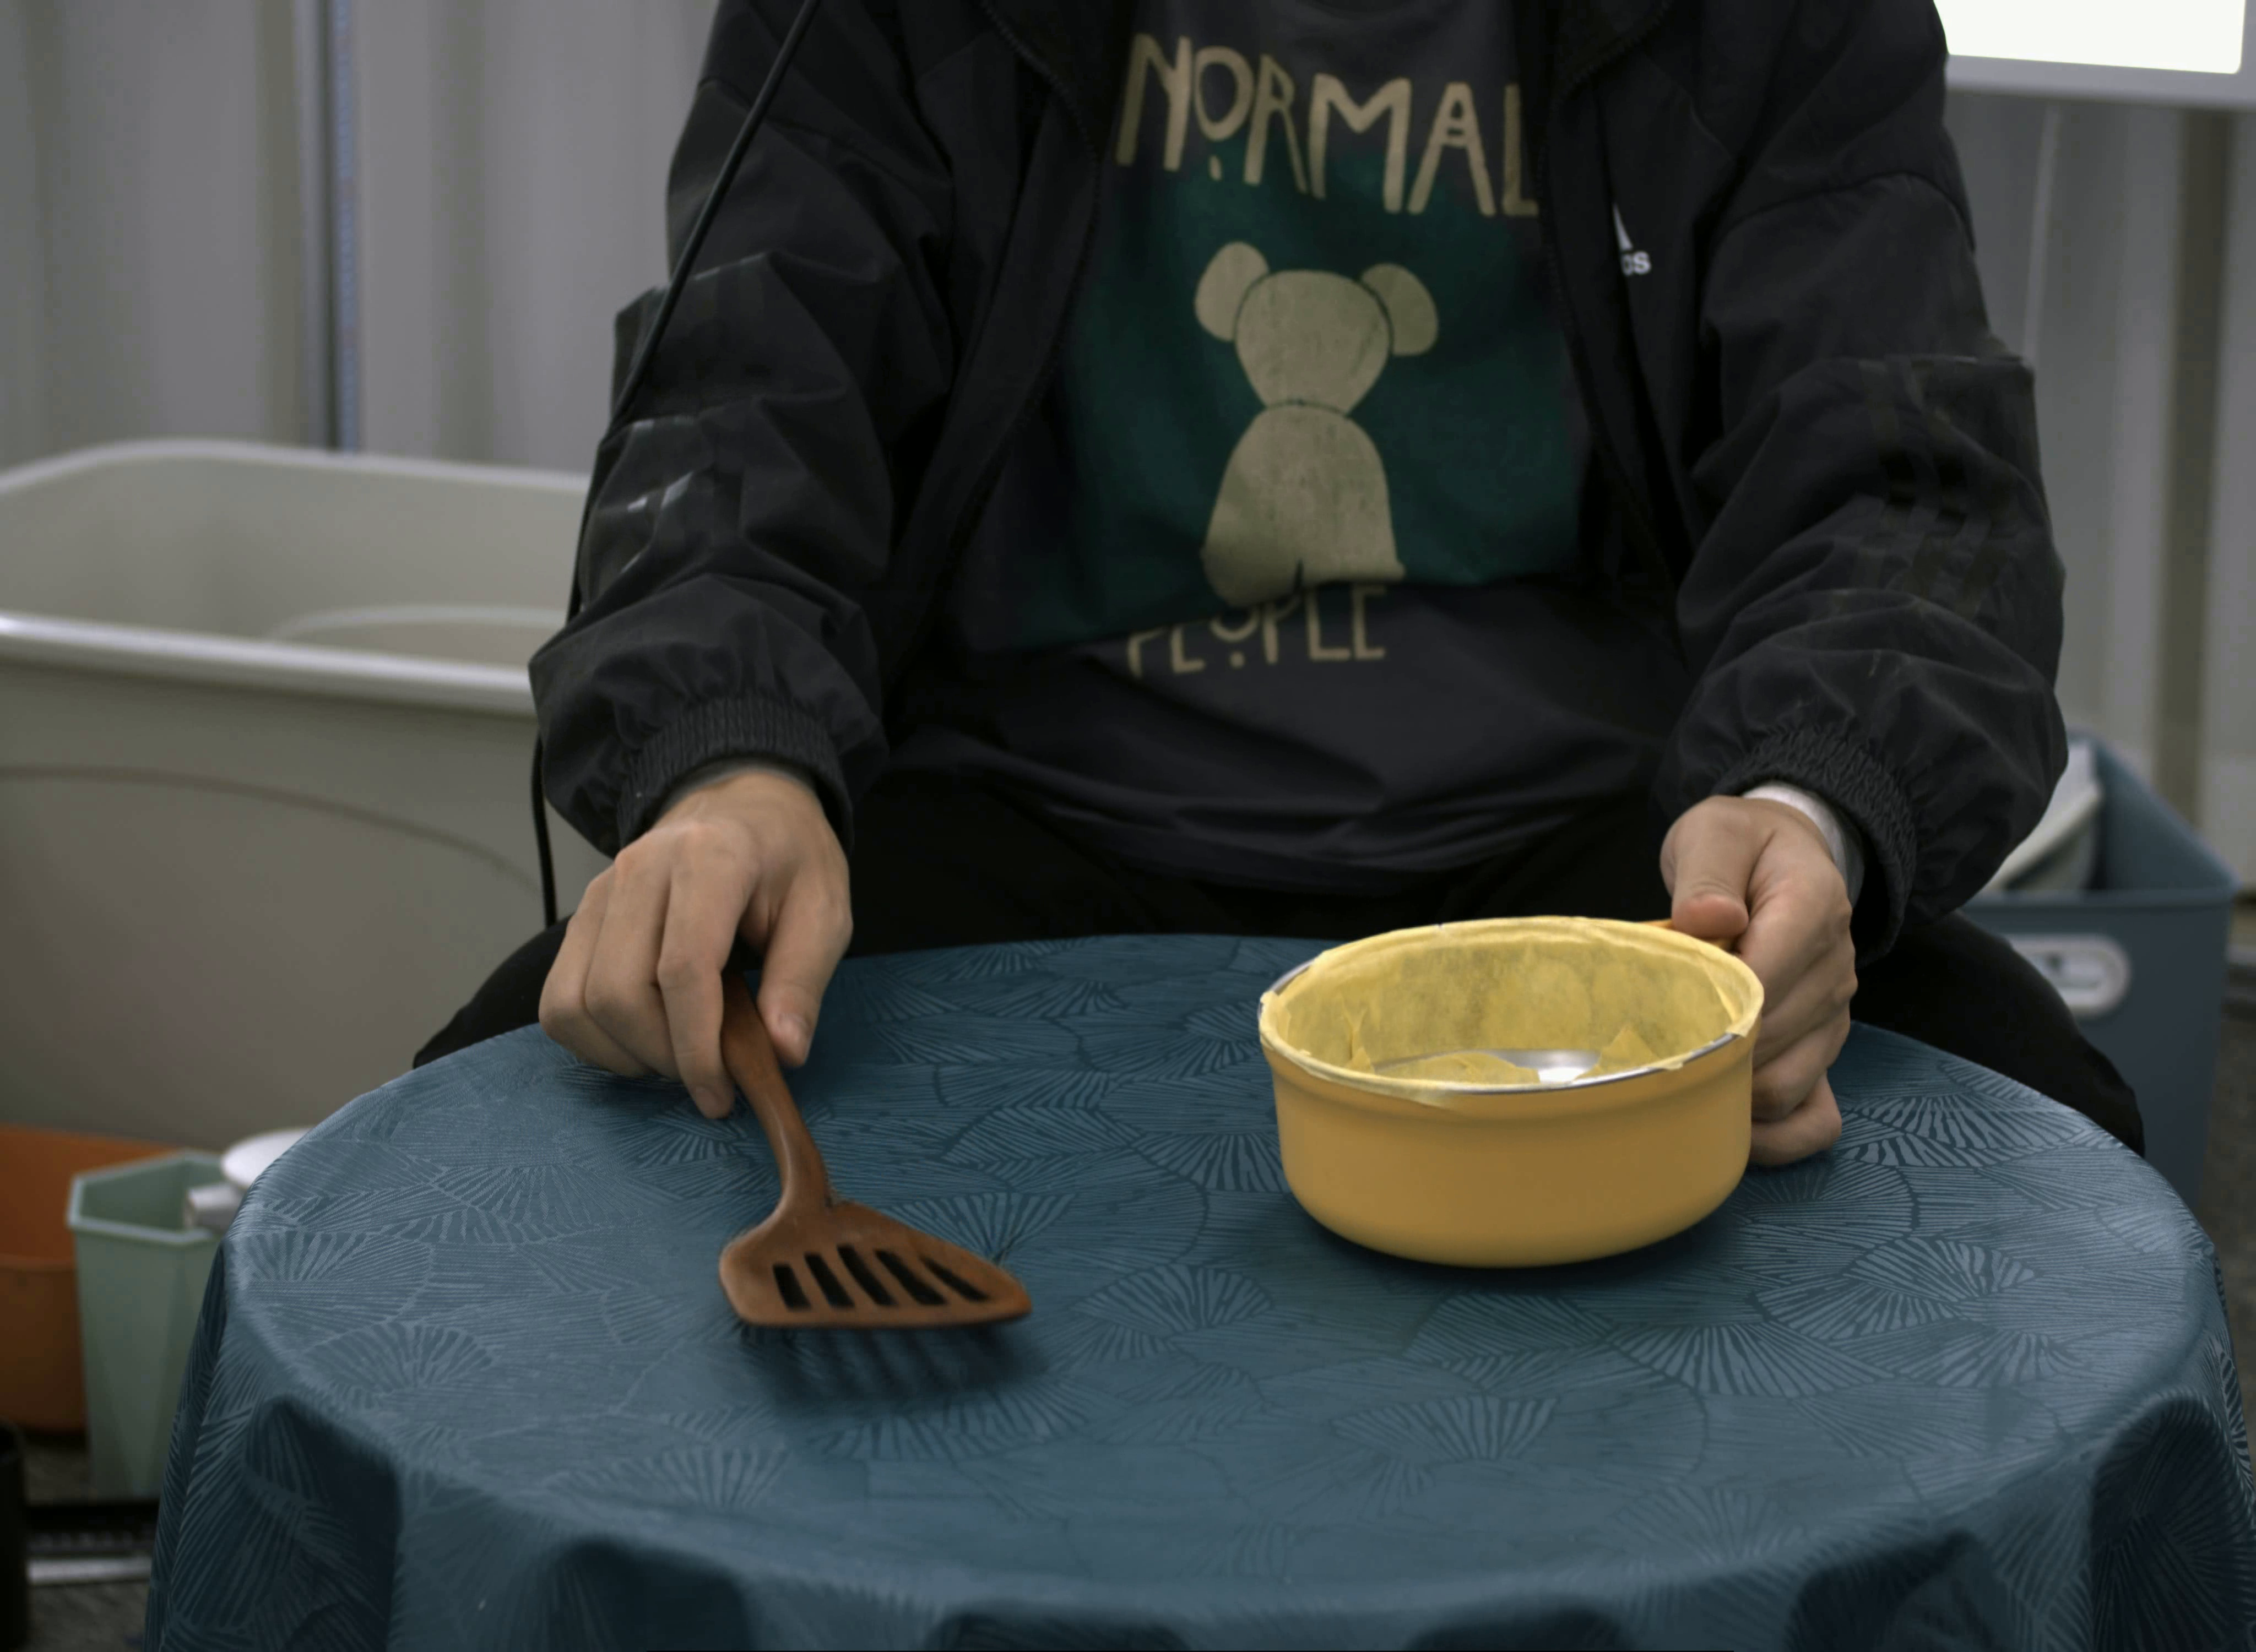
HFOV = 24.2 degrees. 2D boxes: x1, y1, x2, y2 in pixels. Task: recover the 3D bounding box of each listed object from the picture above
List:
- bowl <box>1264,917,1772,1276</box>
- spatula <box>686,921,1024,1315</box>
[{"bbox_3d":[0.128,0.080,1.605,0.151,0.075,0.180,10,23,37],"label":"bowl"},{"bbox_3d":[-0.104,0.090,1.630,0.085,0.024,0.383,1,16,-12],"label":"spatula"}]
